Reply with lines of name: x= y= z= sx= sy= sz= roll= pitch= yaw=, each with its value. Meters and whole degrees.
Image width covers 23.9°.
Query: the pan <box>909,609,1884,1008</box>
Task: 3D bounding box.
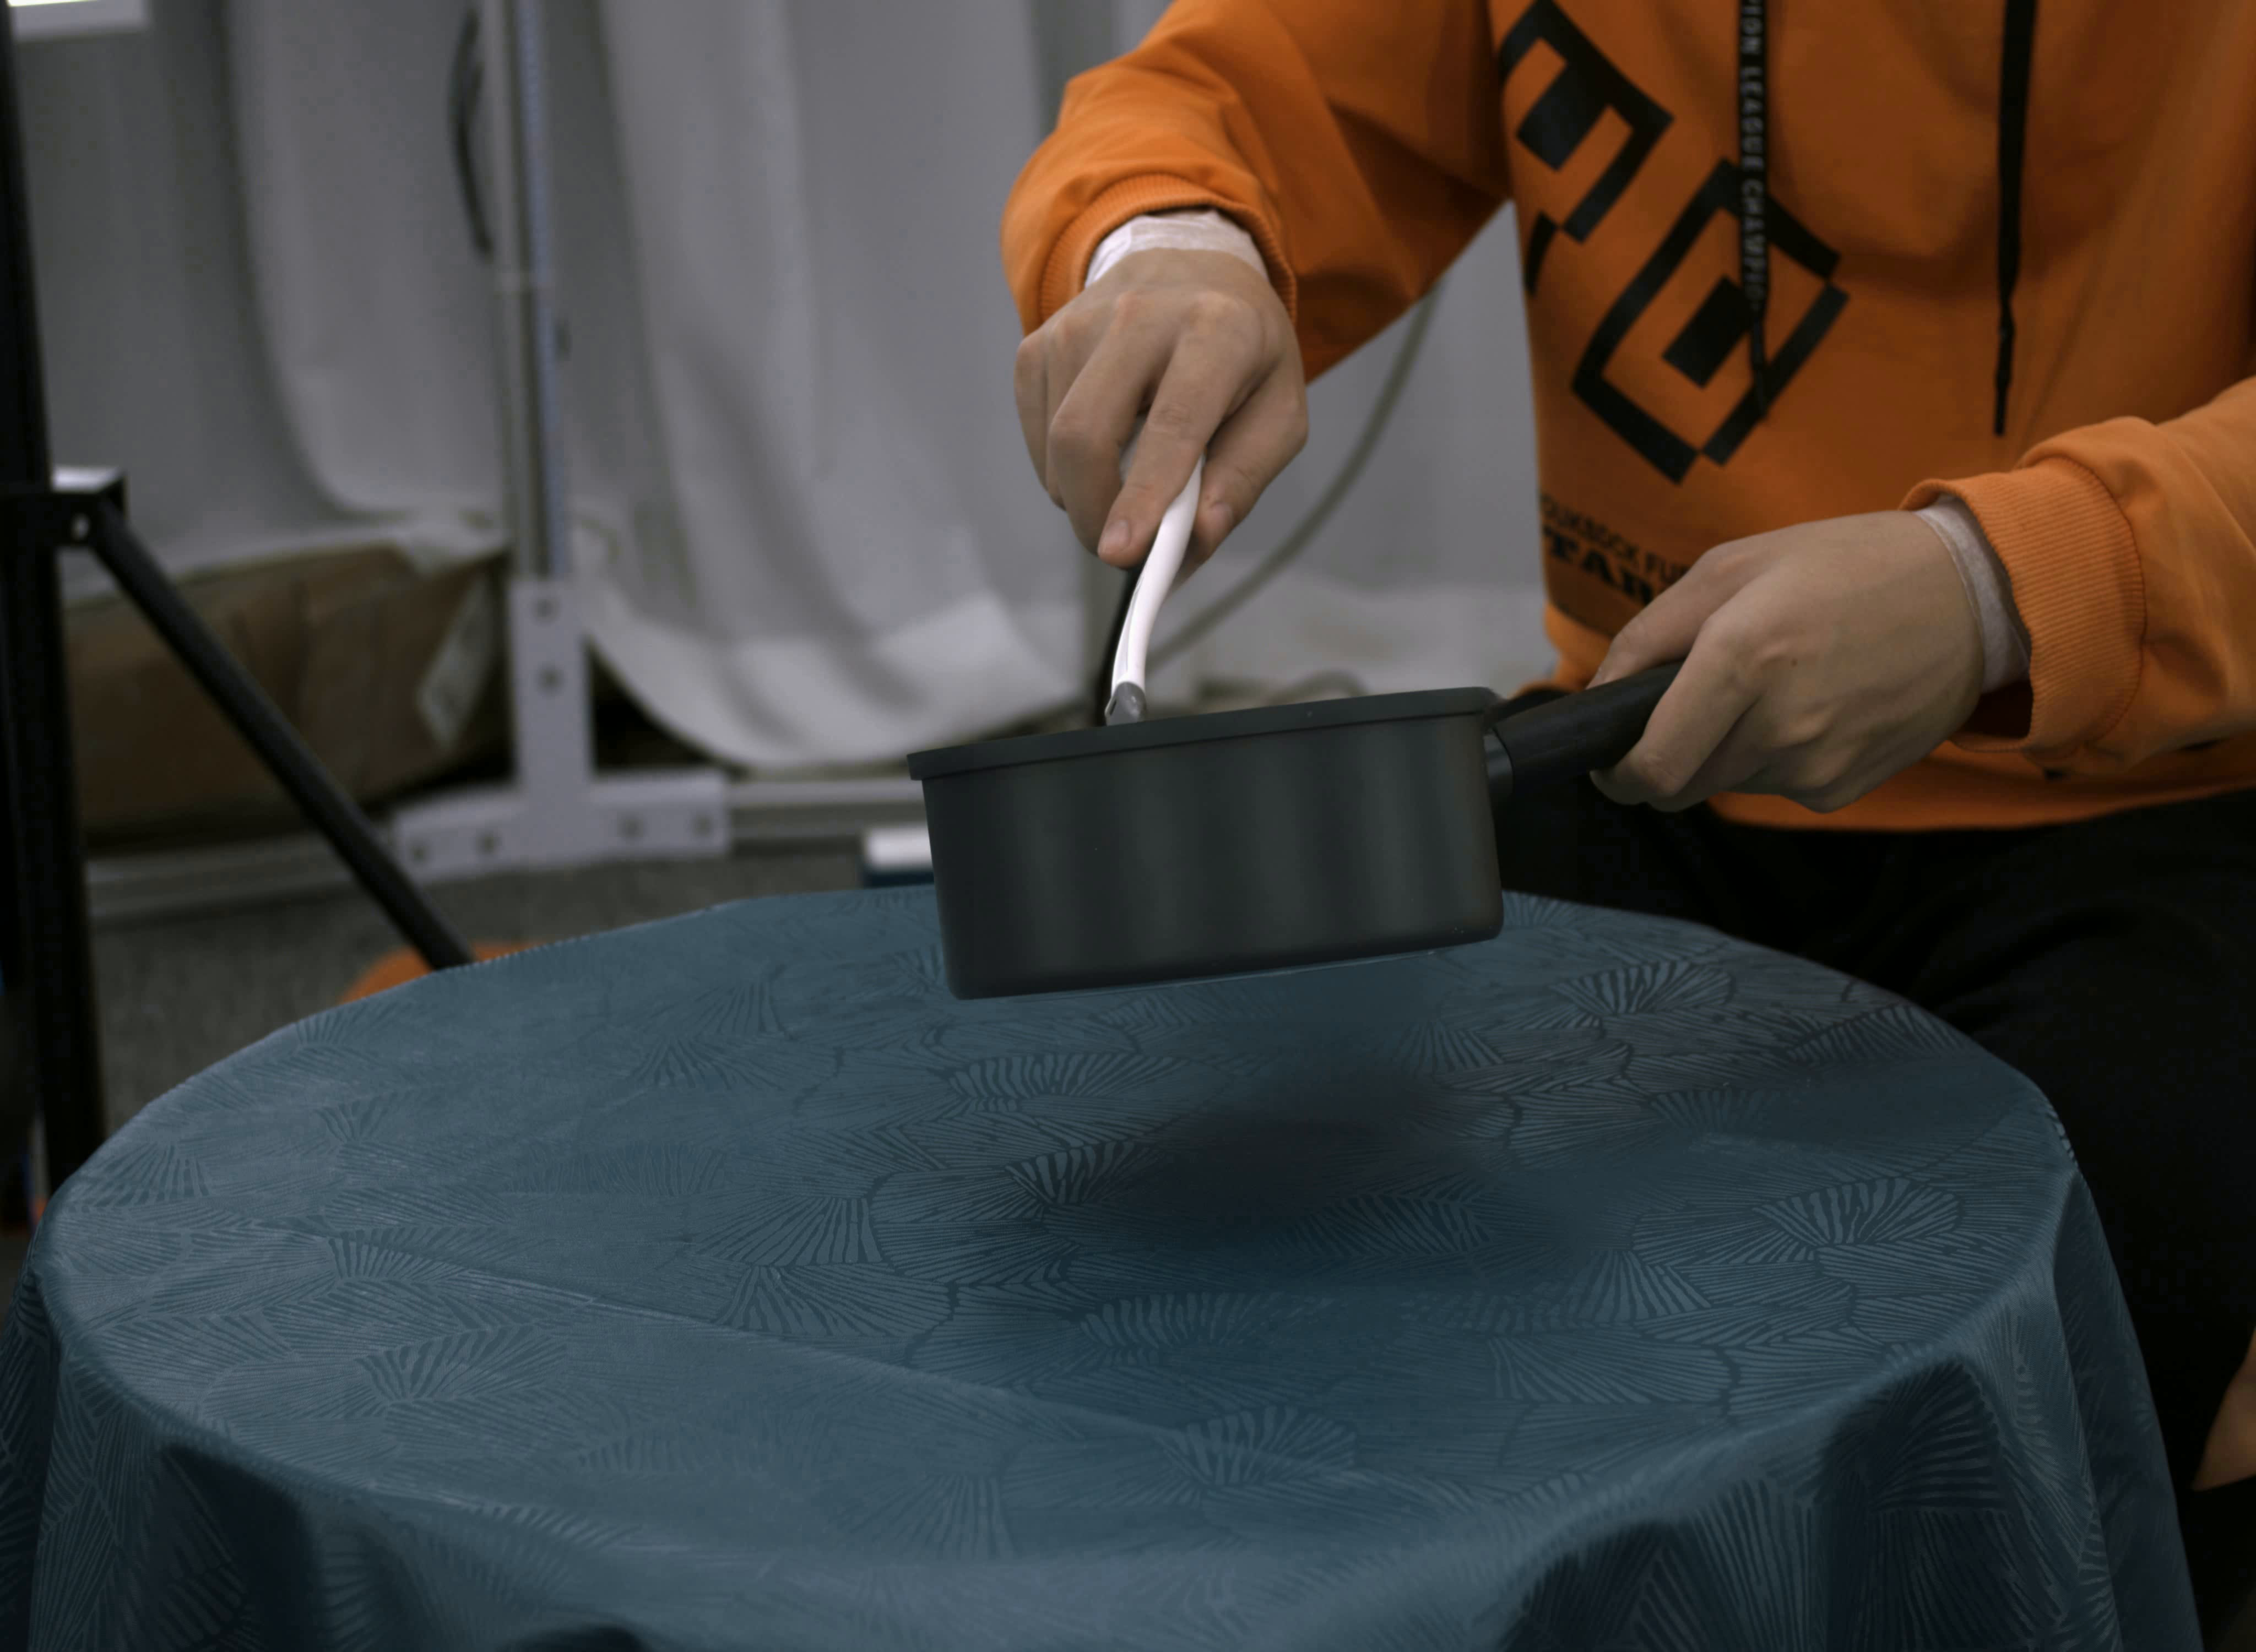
pan: x=0.092 y=-0.004 z=1.579 sx=0.321 sy=0.087 sz=0.175 roll=-8 pitch=1 yaw=-29

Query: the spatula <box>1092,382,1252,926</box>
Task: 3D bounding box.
spatula: x=0.011 y=-0.054 z=1.592 sx=0.032 sy=0.059 sz=0.290 roll=18 pitch=28 yaw=-14
